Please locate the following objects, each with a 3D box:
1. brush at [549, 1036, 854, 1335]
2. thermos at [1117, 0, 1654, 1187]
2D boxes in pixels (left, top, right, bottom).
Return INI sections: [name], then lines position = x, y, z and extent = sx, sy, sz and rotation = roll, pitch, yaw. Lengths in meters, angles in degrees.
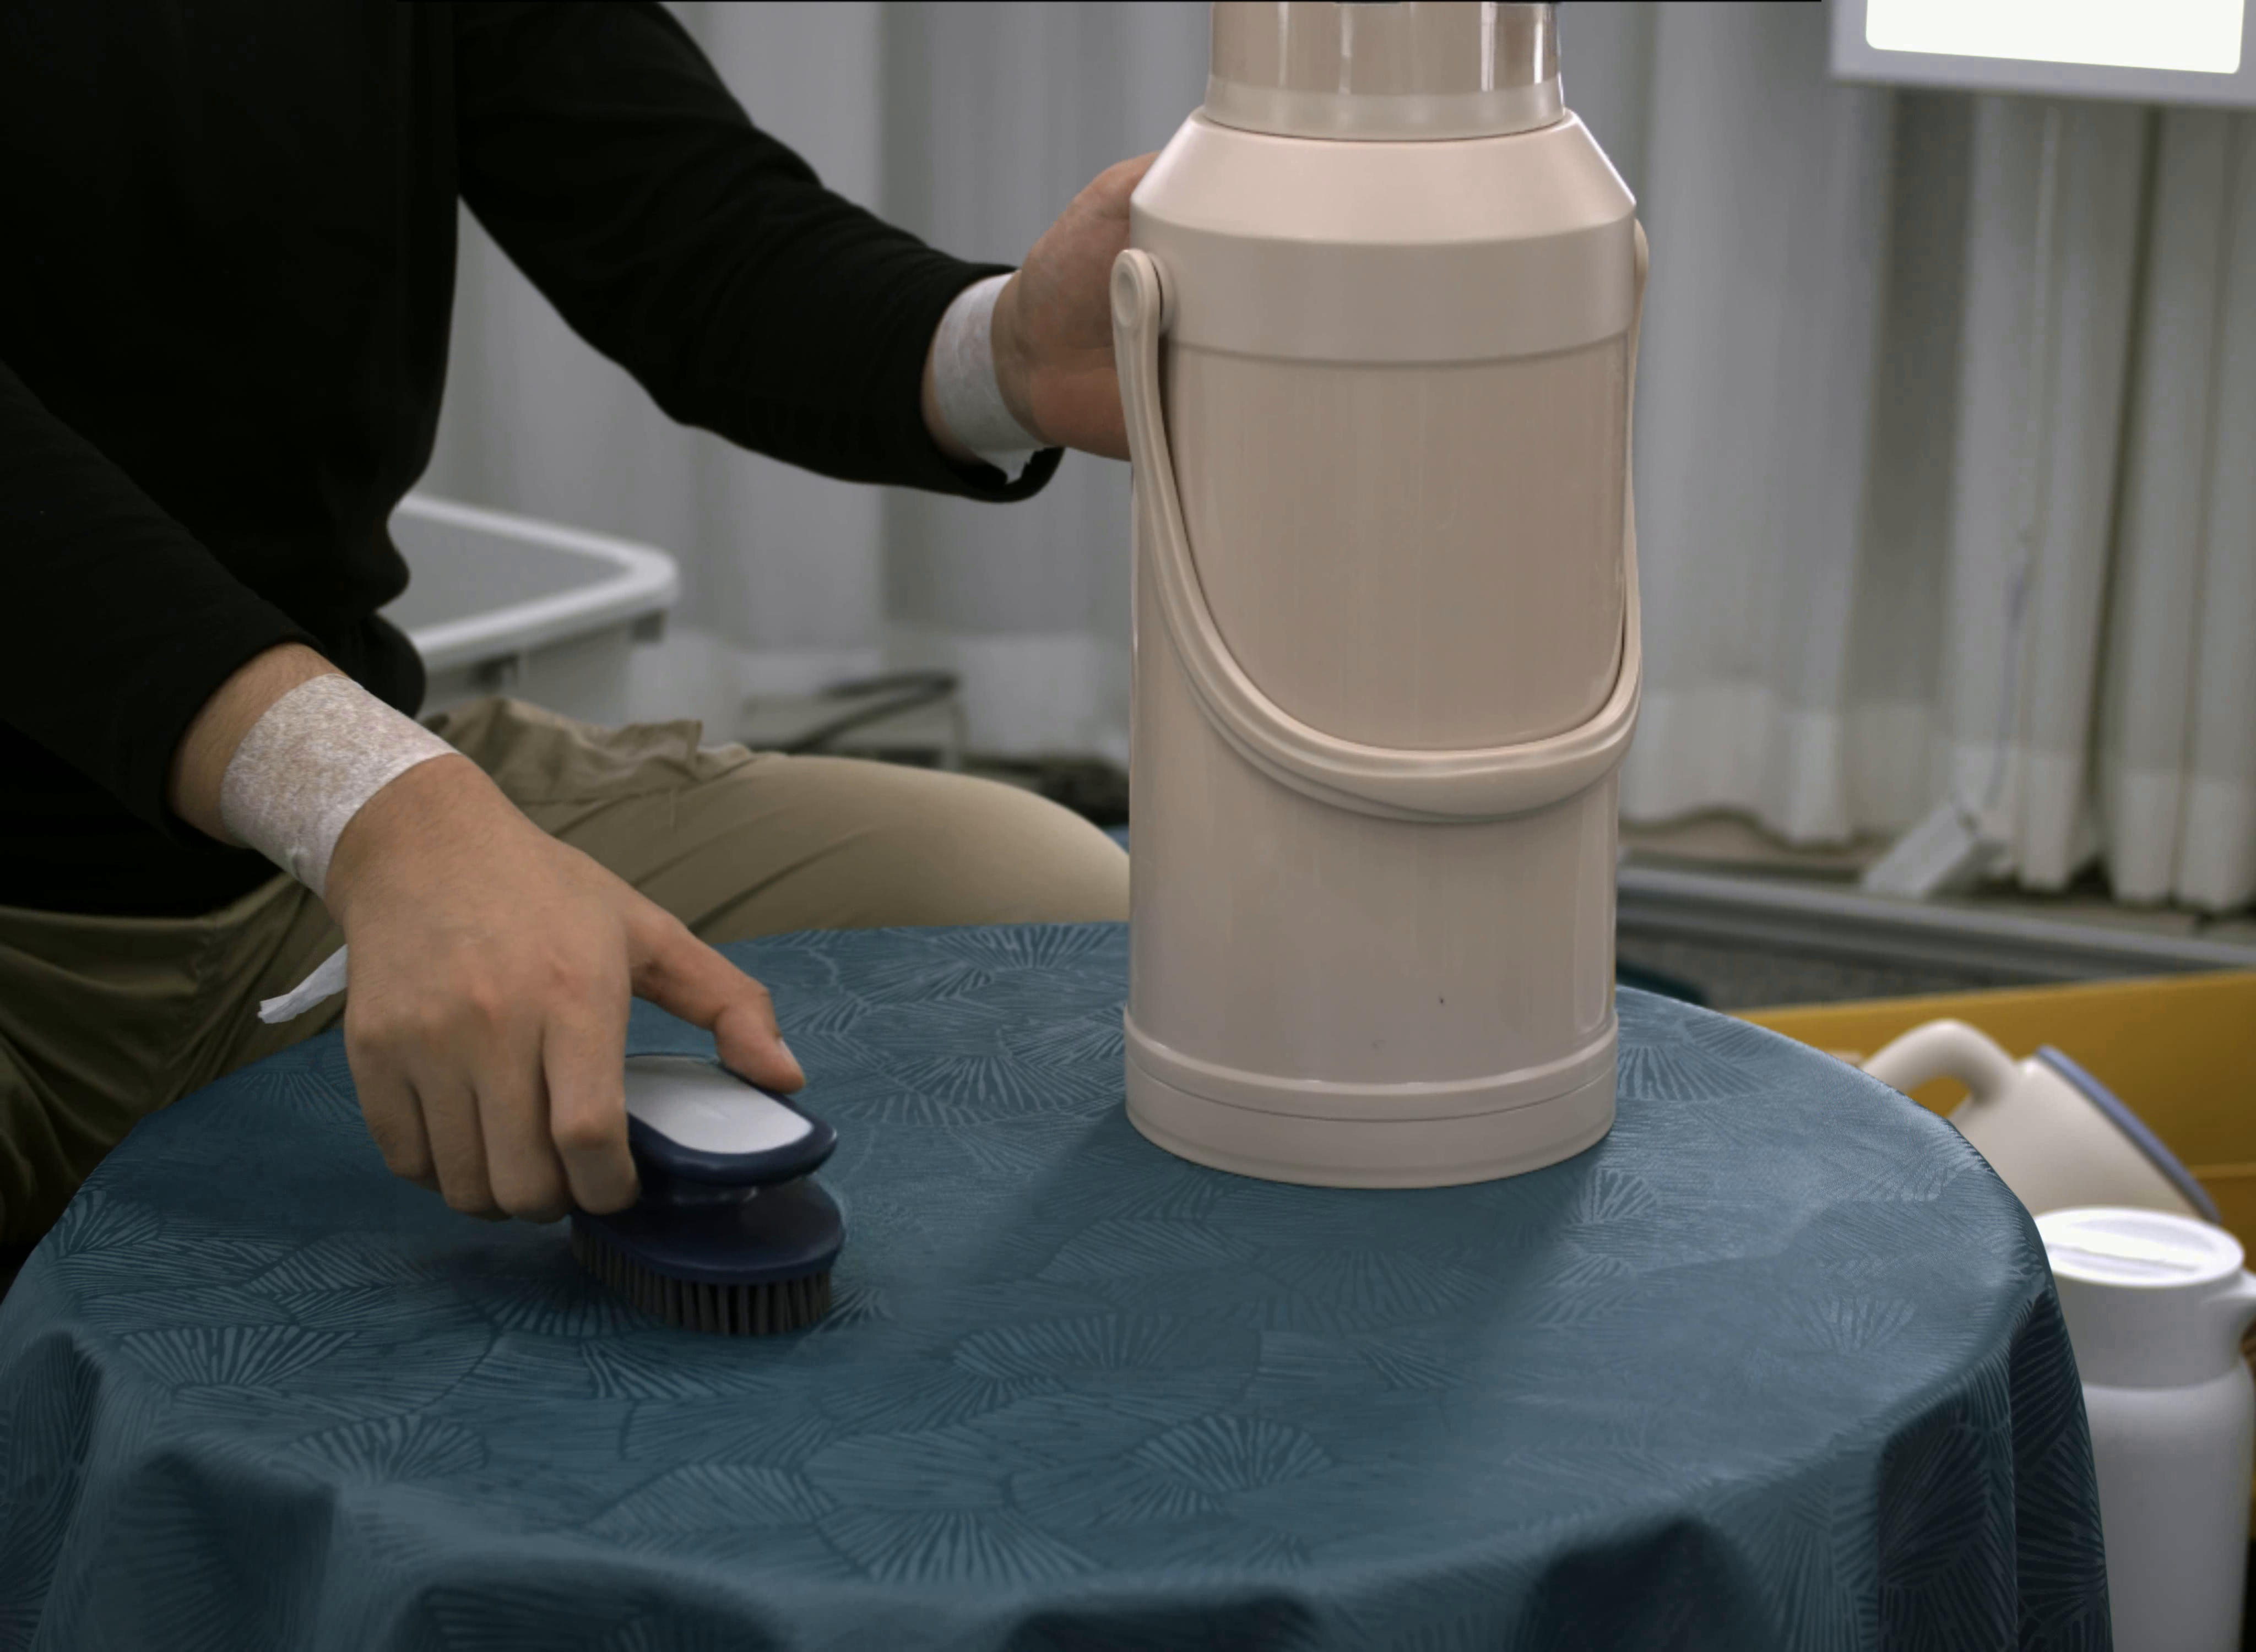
[brush]
position = -0.125, 0.106, 1.535
extent = 0.068, 0.062, 0.120
rotation = -6, 20, -27
[thermos]
position = 0.075, -0.104, 1.657
extent = 0.176, 0.410, 0.204
rotation = -9, 19, -24
